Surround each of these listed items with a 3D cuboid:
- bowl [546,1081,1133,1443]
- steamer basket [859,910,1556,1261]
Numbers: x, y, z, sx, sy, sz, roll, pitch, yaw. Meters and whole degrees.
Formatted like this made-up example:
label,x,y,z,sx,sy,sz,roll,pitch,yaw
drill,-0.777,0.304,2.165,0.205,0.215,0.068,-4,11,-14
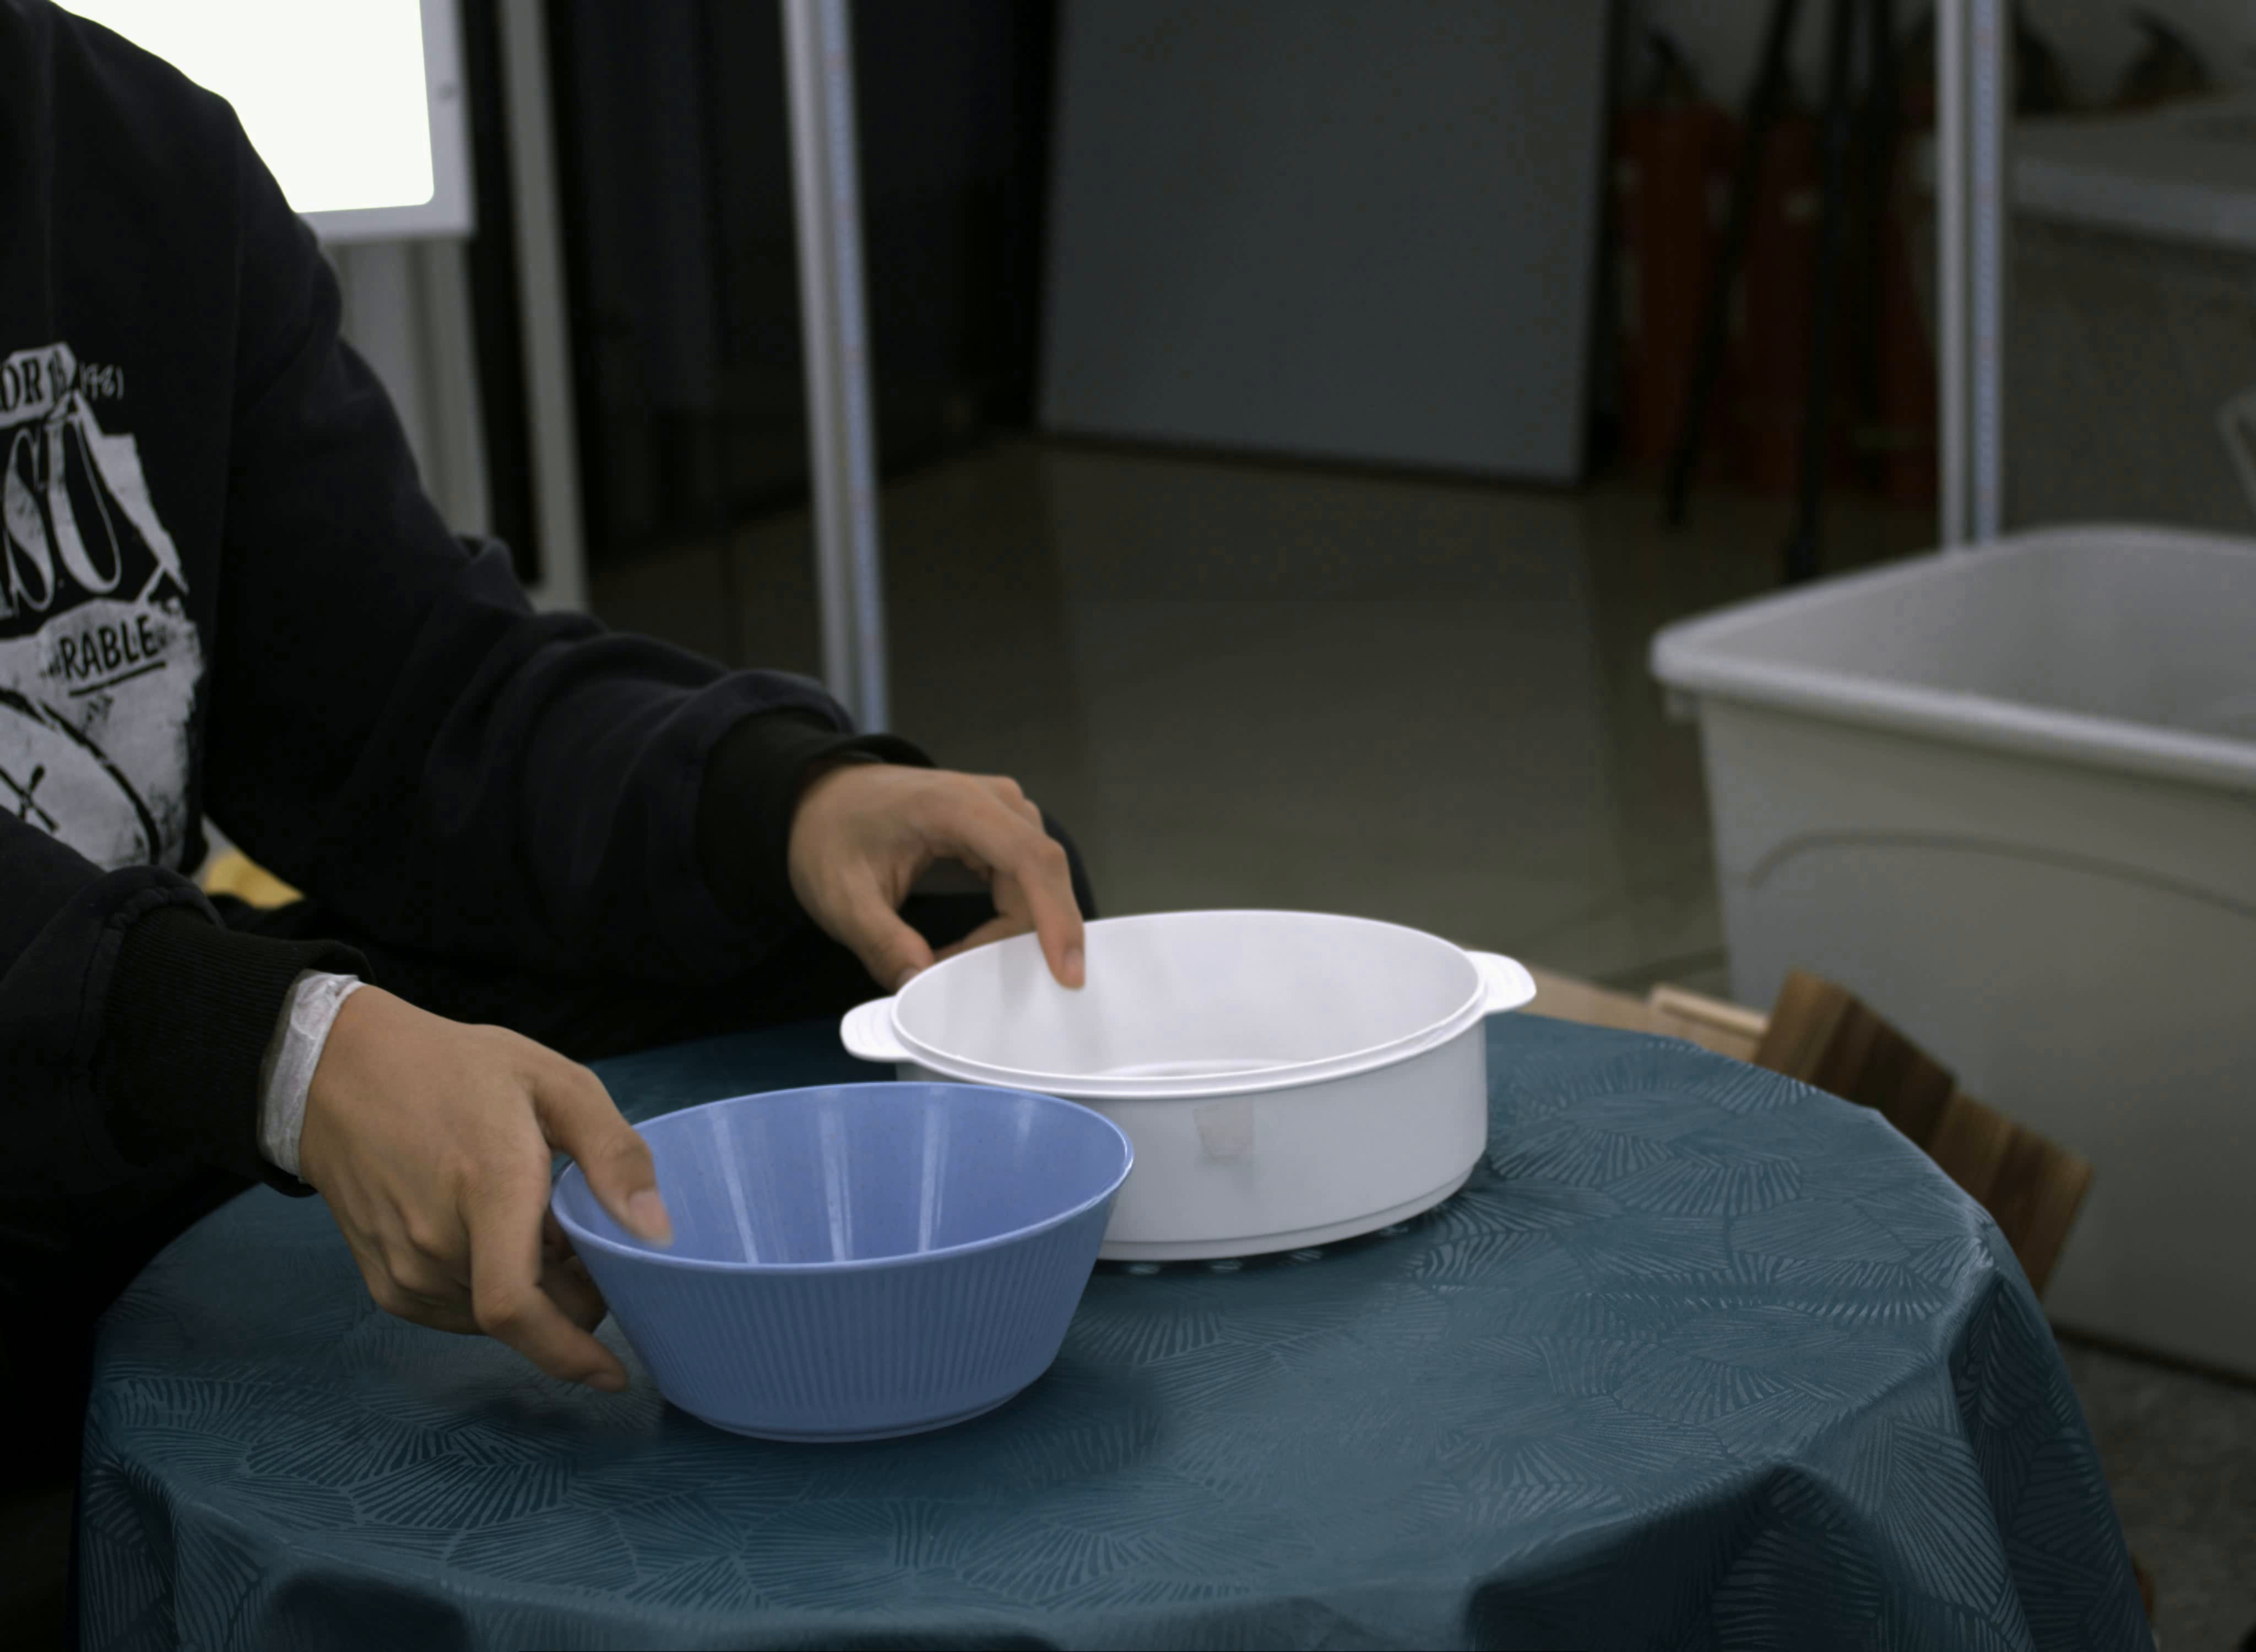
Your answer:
label,x,y,z,sx,sy,sz,roll,pitch,yaw
bowl,-0.083,0.132,1.603,0.174,0.071,0.176,-3,15,0
steamer basket,0.027,0.085,1.767,0.227,0.070,0.202,-3,14,-4
